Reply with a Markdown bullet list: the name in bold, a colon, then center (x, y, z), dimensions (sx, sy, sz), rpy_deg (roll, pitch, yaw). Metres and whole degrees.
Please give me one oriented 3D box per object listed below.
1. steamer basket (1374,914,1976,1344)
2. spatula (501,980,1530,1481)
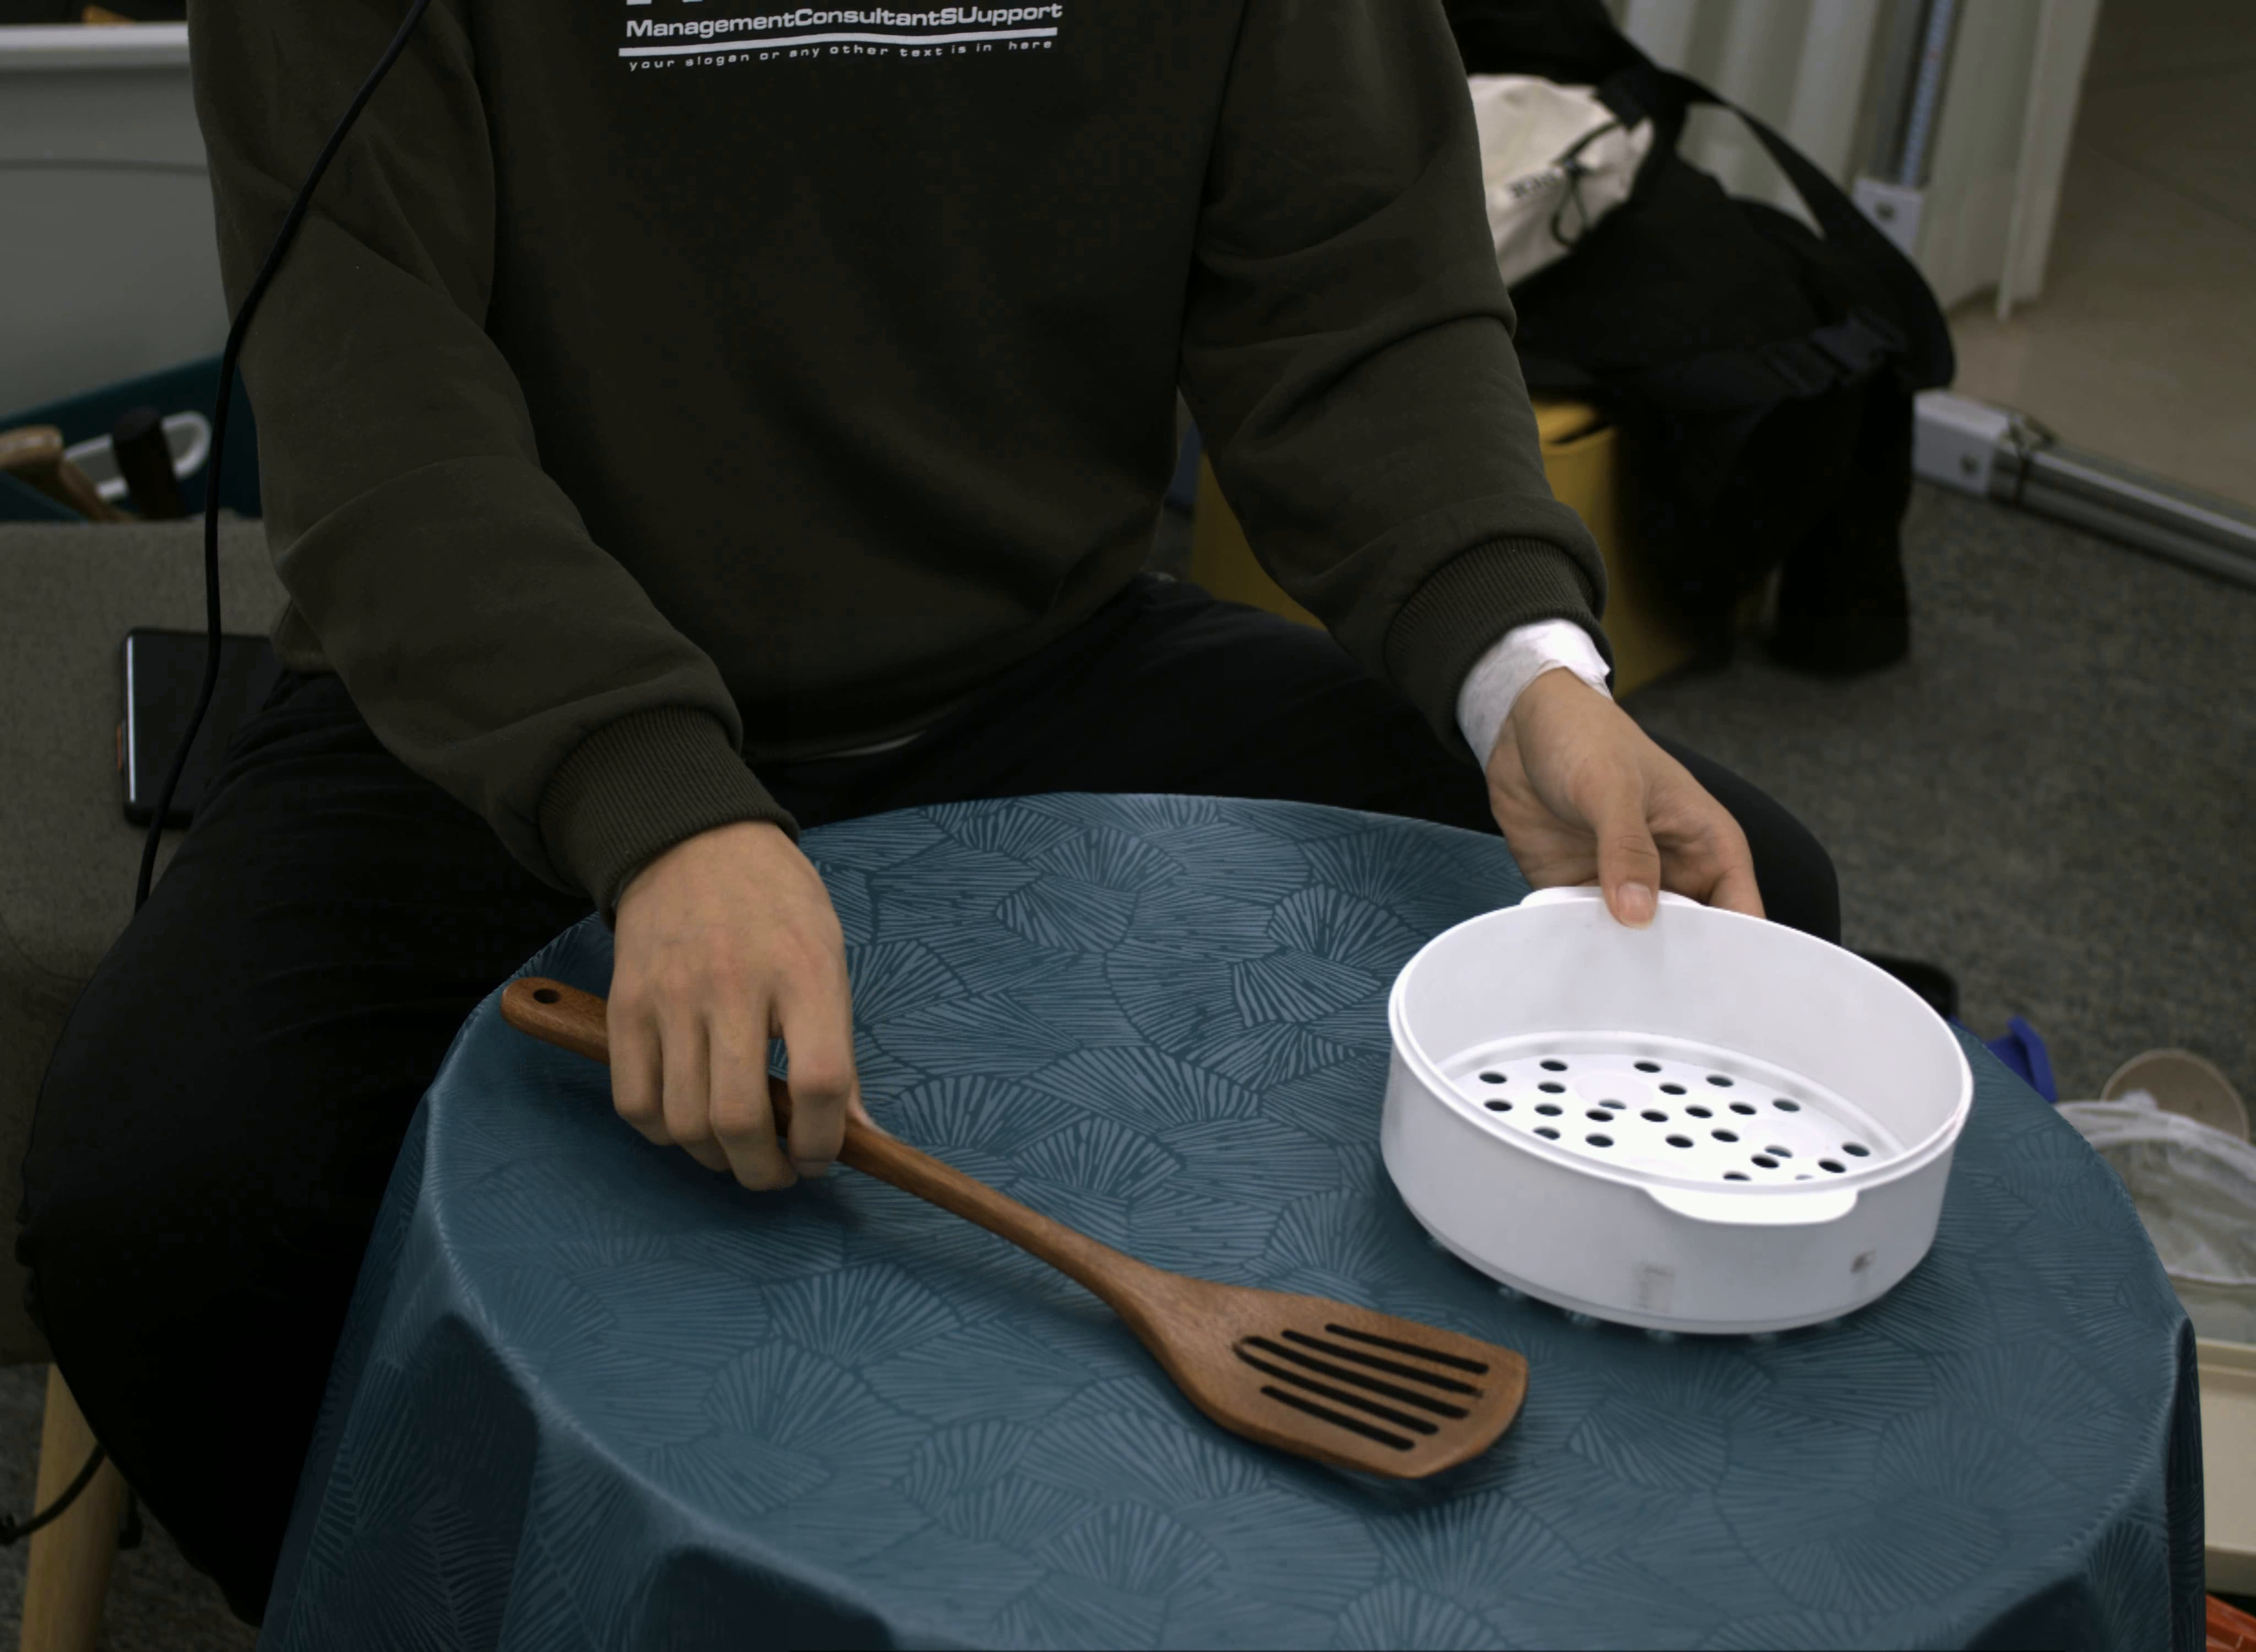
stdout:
- **steamer basket**: center (0.184, 0.105, 1.816), dimensions (0.201, 0.069, 0.232), rpy_deg (3, 24, -11)
- **spatula**: center (-0.049, 0.128, 1.745), dimensions (0.387, 0.023, 0.086), rpy_deg (23, 32, 23)
